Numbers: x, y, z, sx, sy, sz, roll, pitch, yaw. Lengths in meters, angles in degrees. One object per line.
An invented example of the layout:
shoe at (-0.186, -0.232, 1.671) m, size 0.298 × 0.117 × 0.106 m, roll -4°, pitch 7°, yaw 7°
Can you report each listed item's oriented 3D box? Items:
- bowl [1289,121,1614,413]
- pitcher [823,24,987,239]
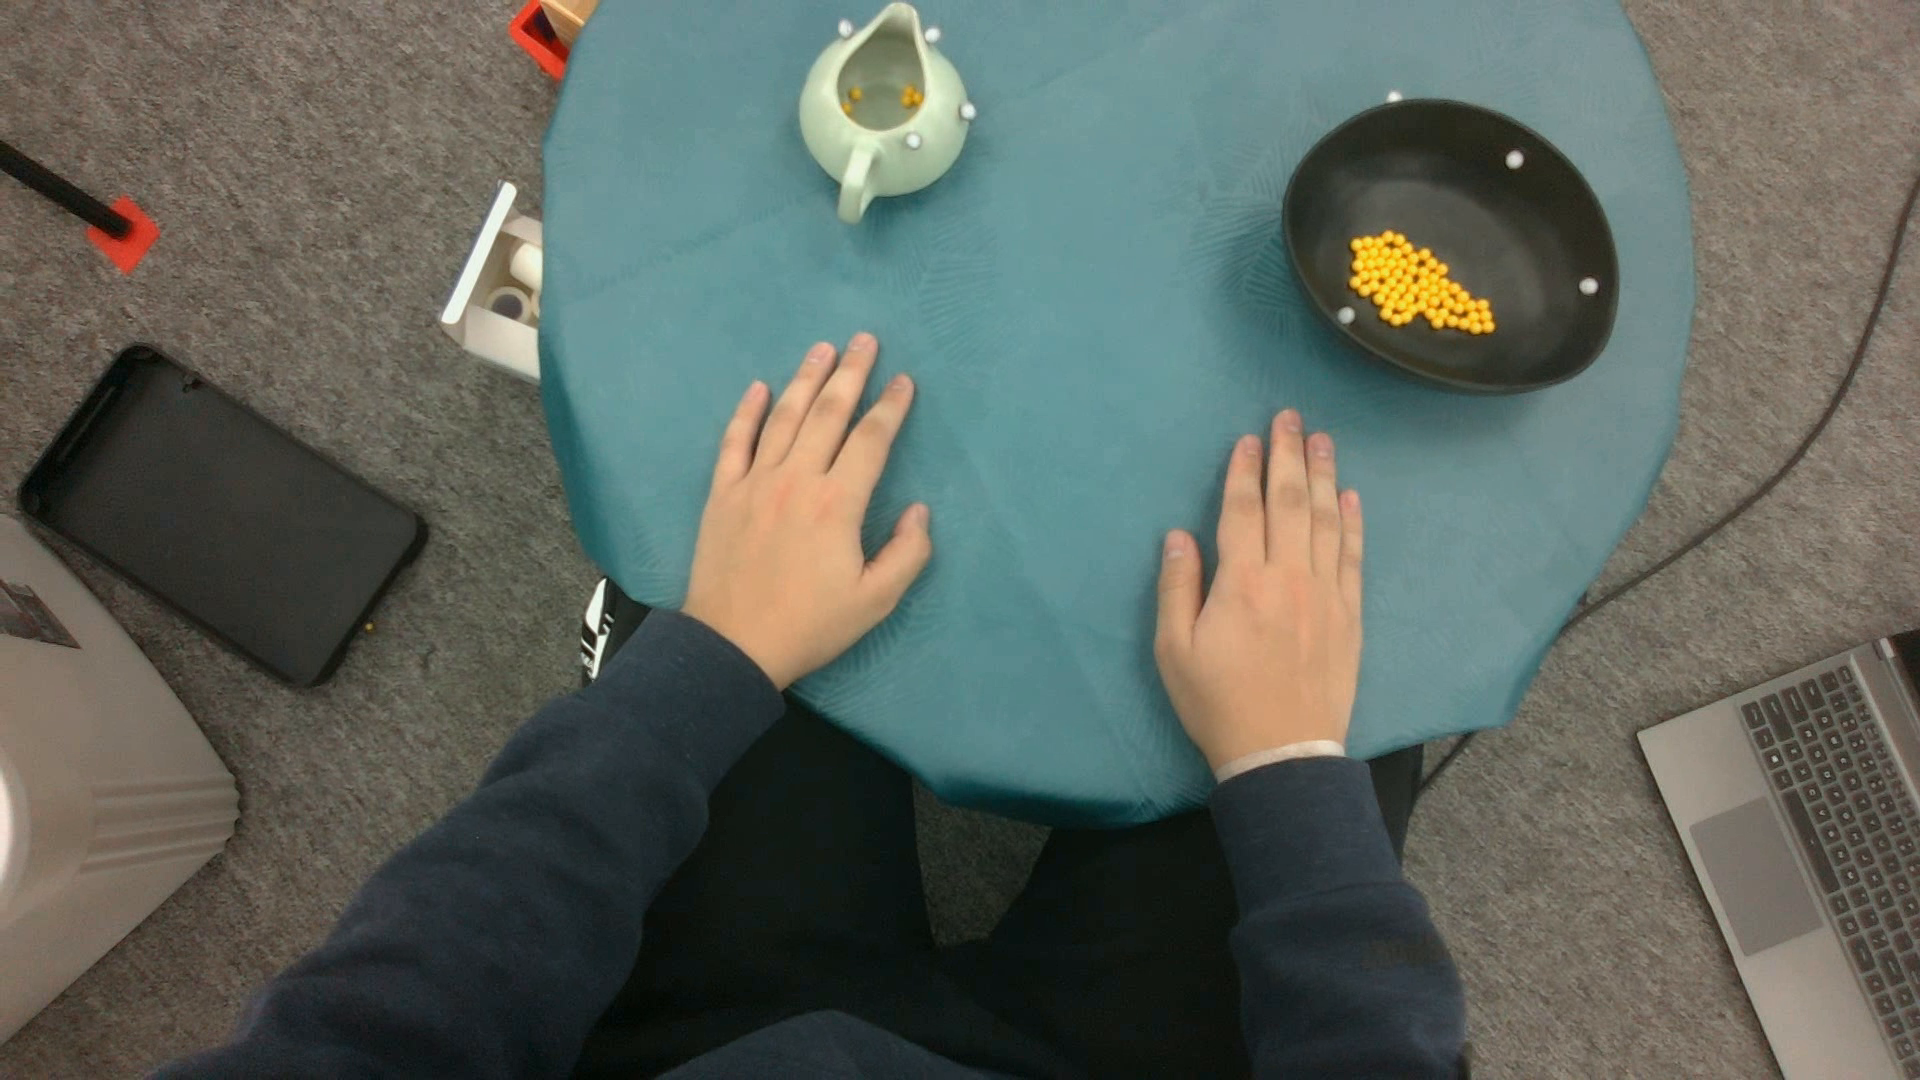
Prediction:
bowl at (0.243, -0.131, 0.696) m, size 0.170 × 0.066 × 0.137 m, roll 28°, pitch 83°, yaw 3°
pitcher at (-0.032, -0.205, 0.710) m, size 0.086 × 0.060 × 0.108 m, roll 13°, pitch 83°, yaw 3°
